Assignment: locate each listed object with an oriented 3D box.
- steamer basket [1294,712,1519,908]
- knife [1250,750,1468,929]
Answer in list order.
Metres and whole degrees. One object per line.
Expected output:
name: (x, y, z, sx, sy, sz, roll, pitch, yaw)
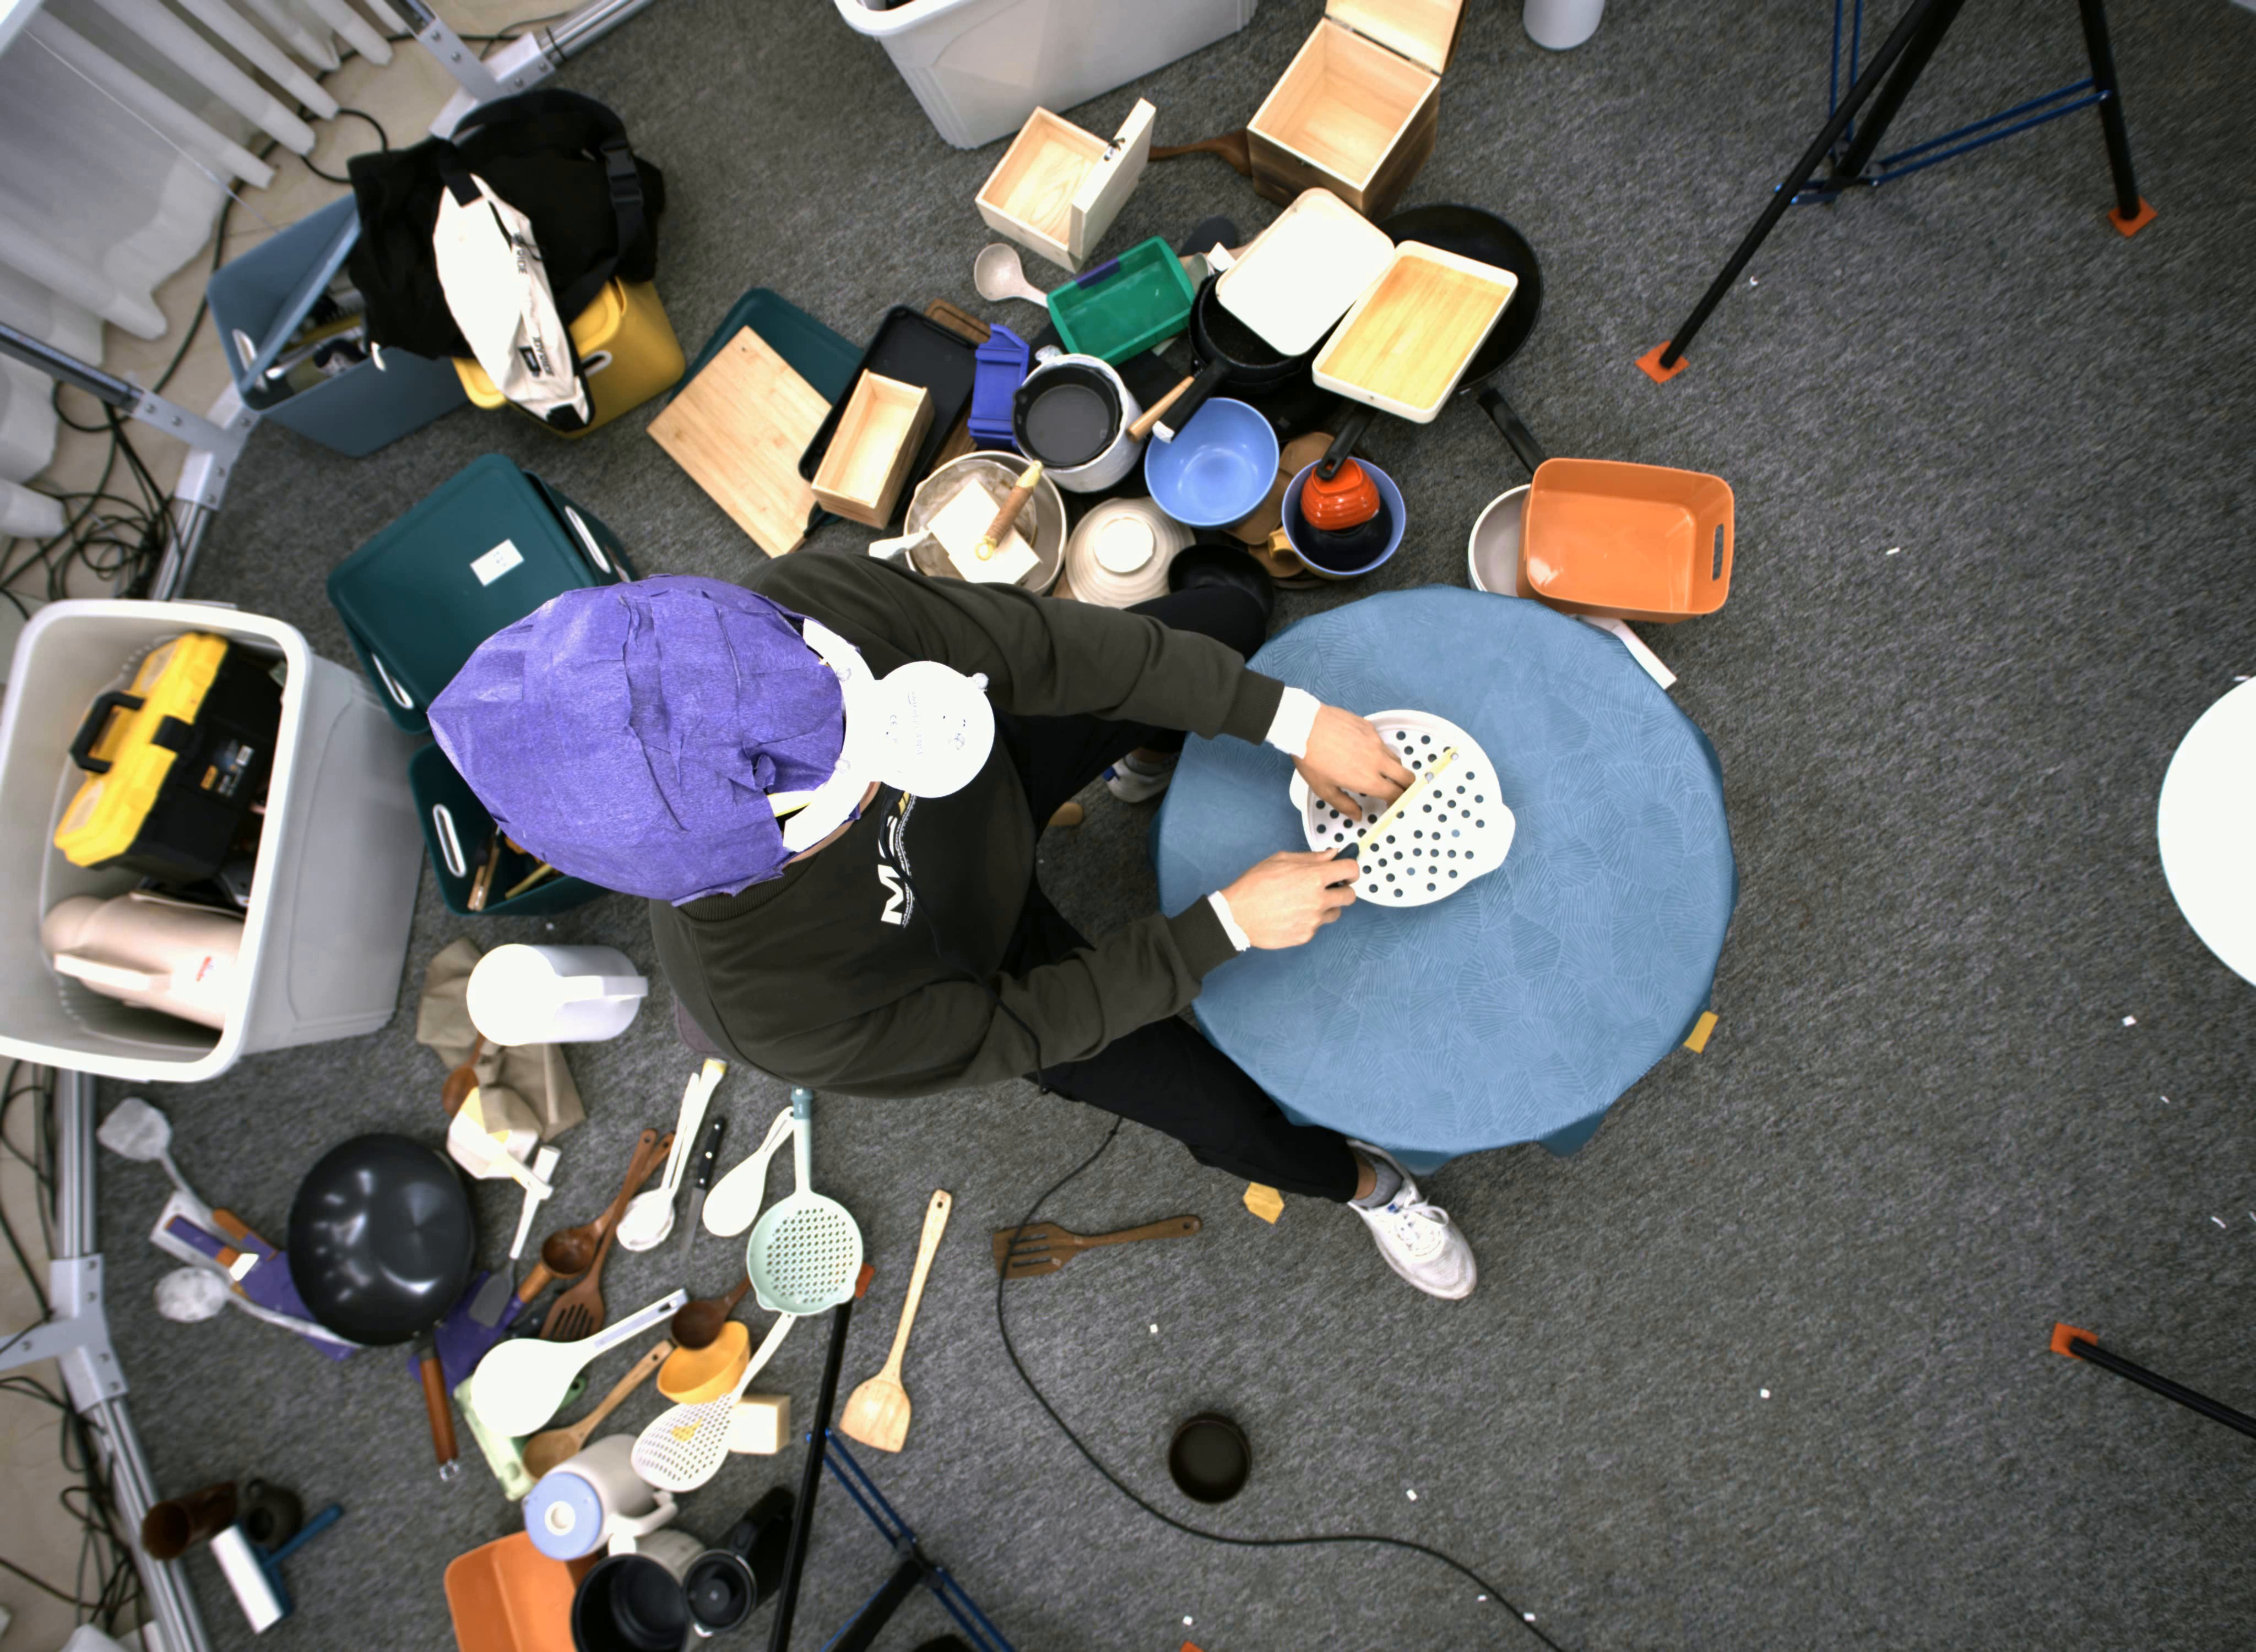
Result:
steamer basket: (0.287, -0.016, 1.428, 0.230, 0.069, 0.201, 20, 90, 13)
knife: (0.238, 0.011, 1.403, 0.288, 0.082, 0.027, -38, 71, -5)
